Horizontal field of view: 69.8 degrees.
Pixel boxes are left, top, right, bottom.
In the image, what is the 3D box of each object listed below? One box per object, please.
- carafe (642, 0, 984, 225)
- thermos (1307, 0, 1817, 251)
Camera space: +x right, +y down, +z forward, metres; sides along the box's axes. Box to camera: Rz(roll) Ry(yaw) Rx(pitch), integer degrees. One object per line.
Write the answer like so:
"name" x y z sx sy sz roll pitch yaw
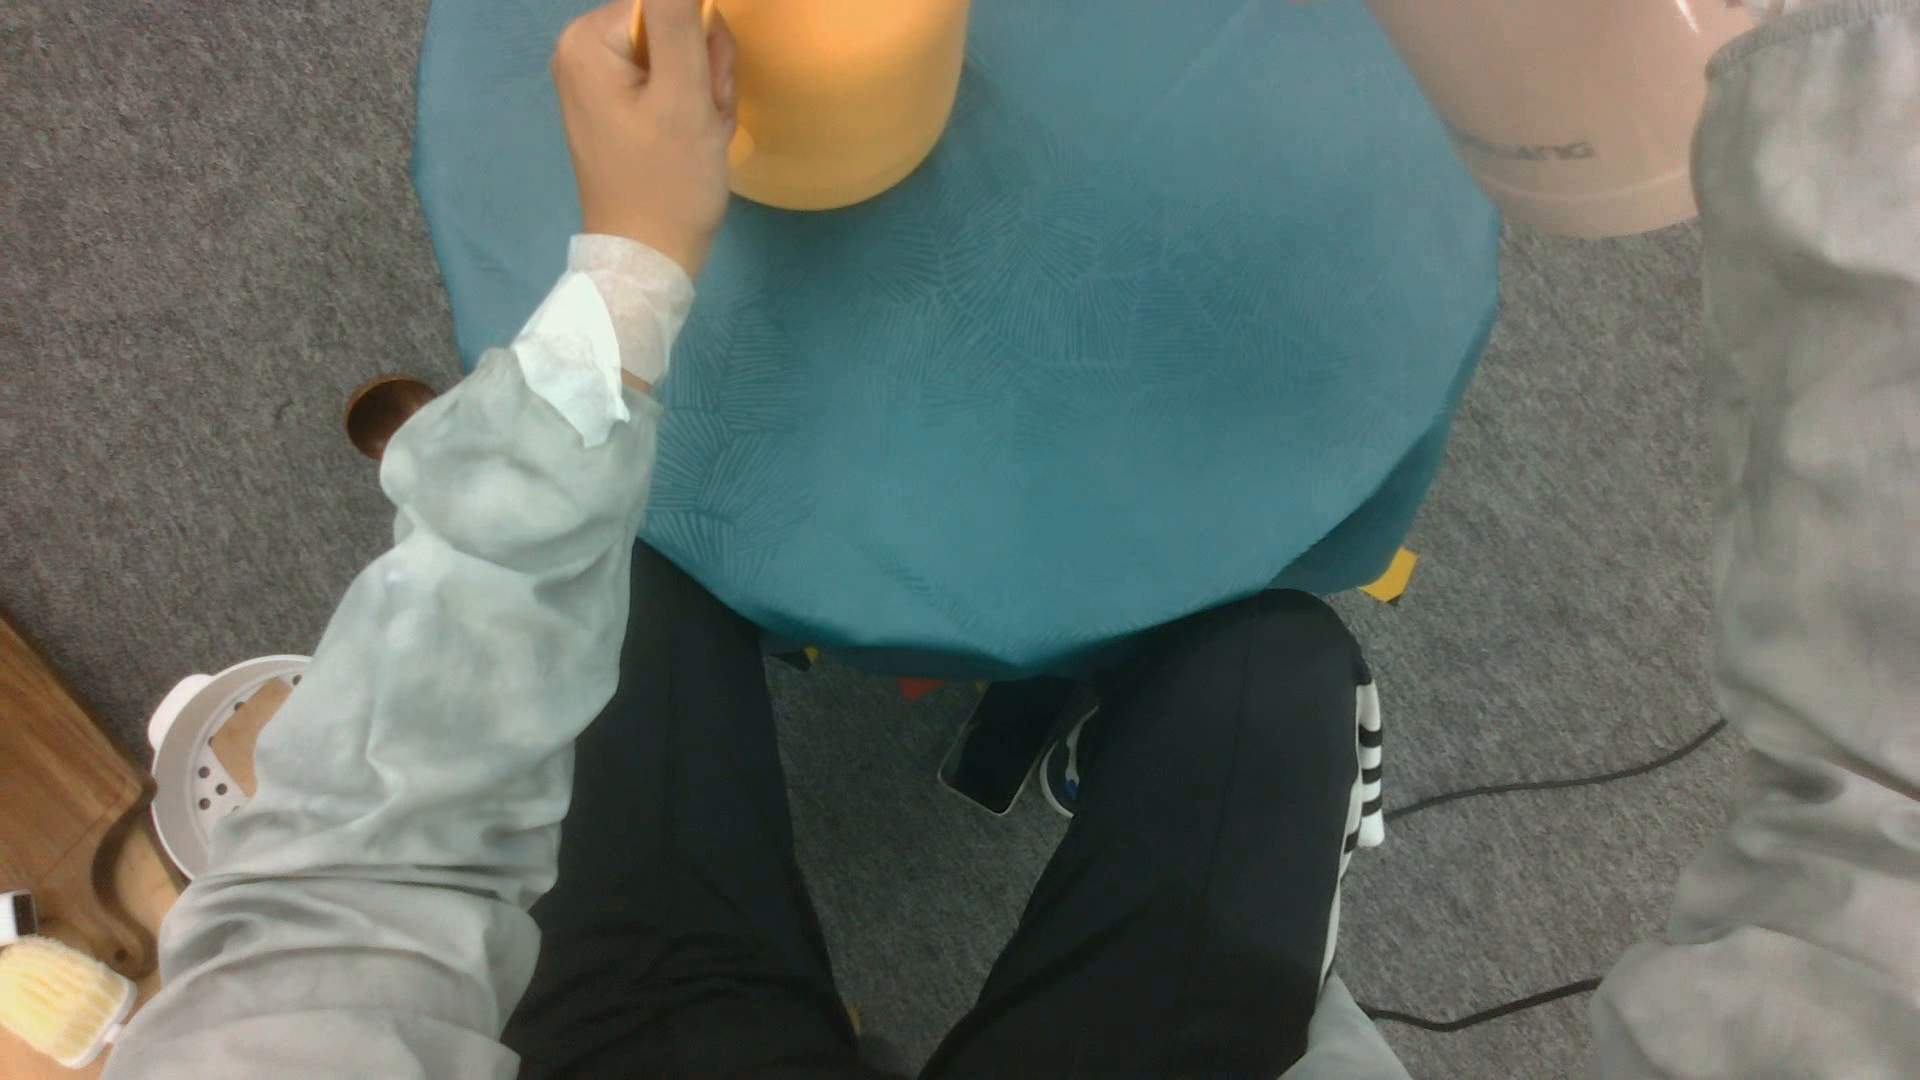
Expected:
"carafe" -0.078 -0.248 0.634 0.163 0.260 0.203 26 78 2
"thermos" 0.181 -0.261 0.459 0.207 0.406 0.175 23 84 44
